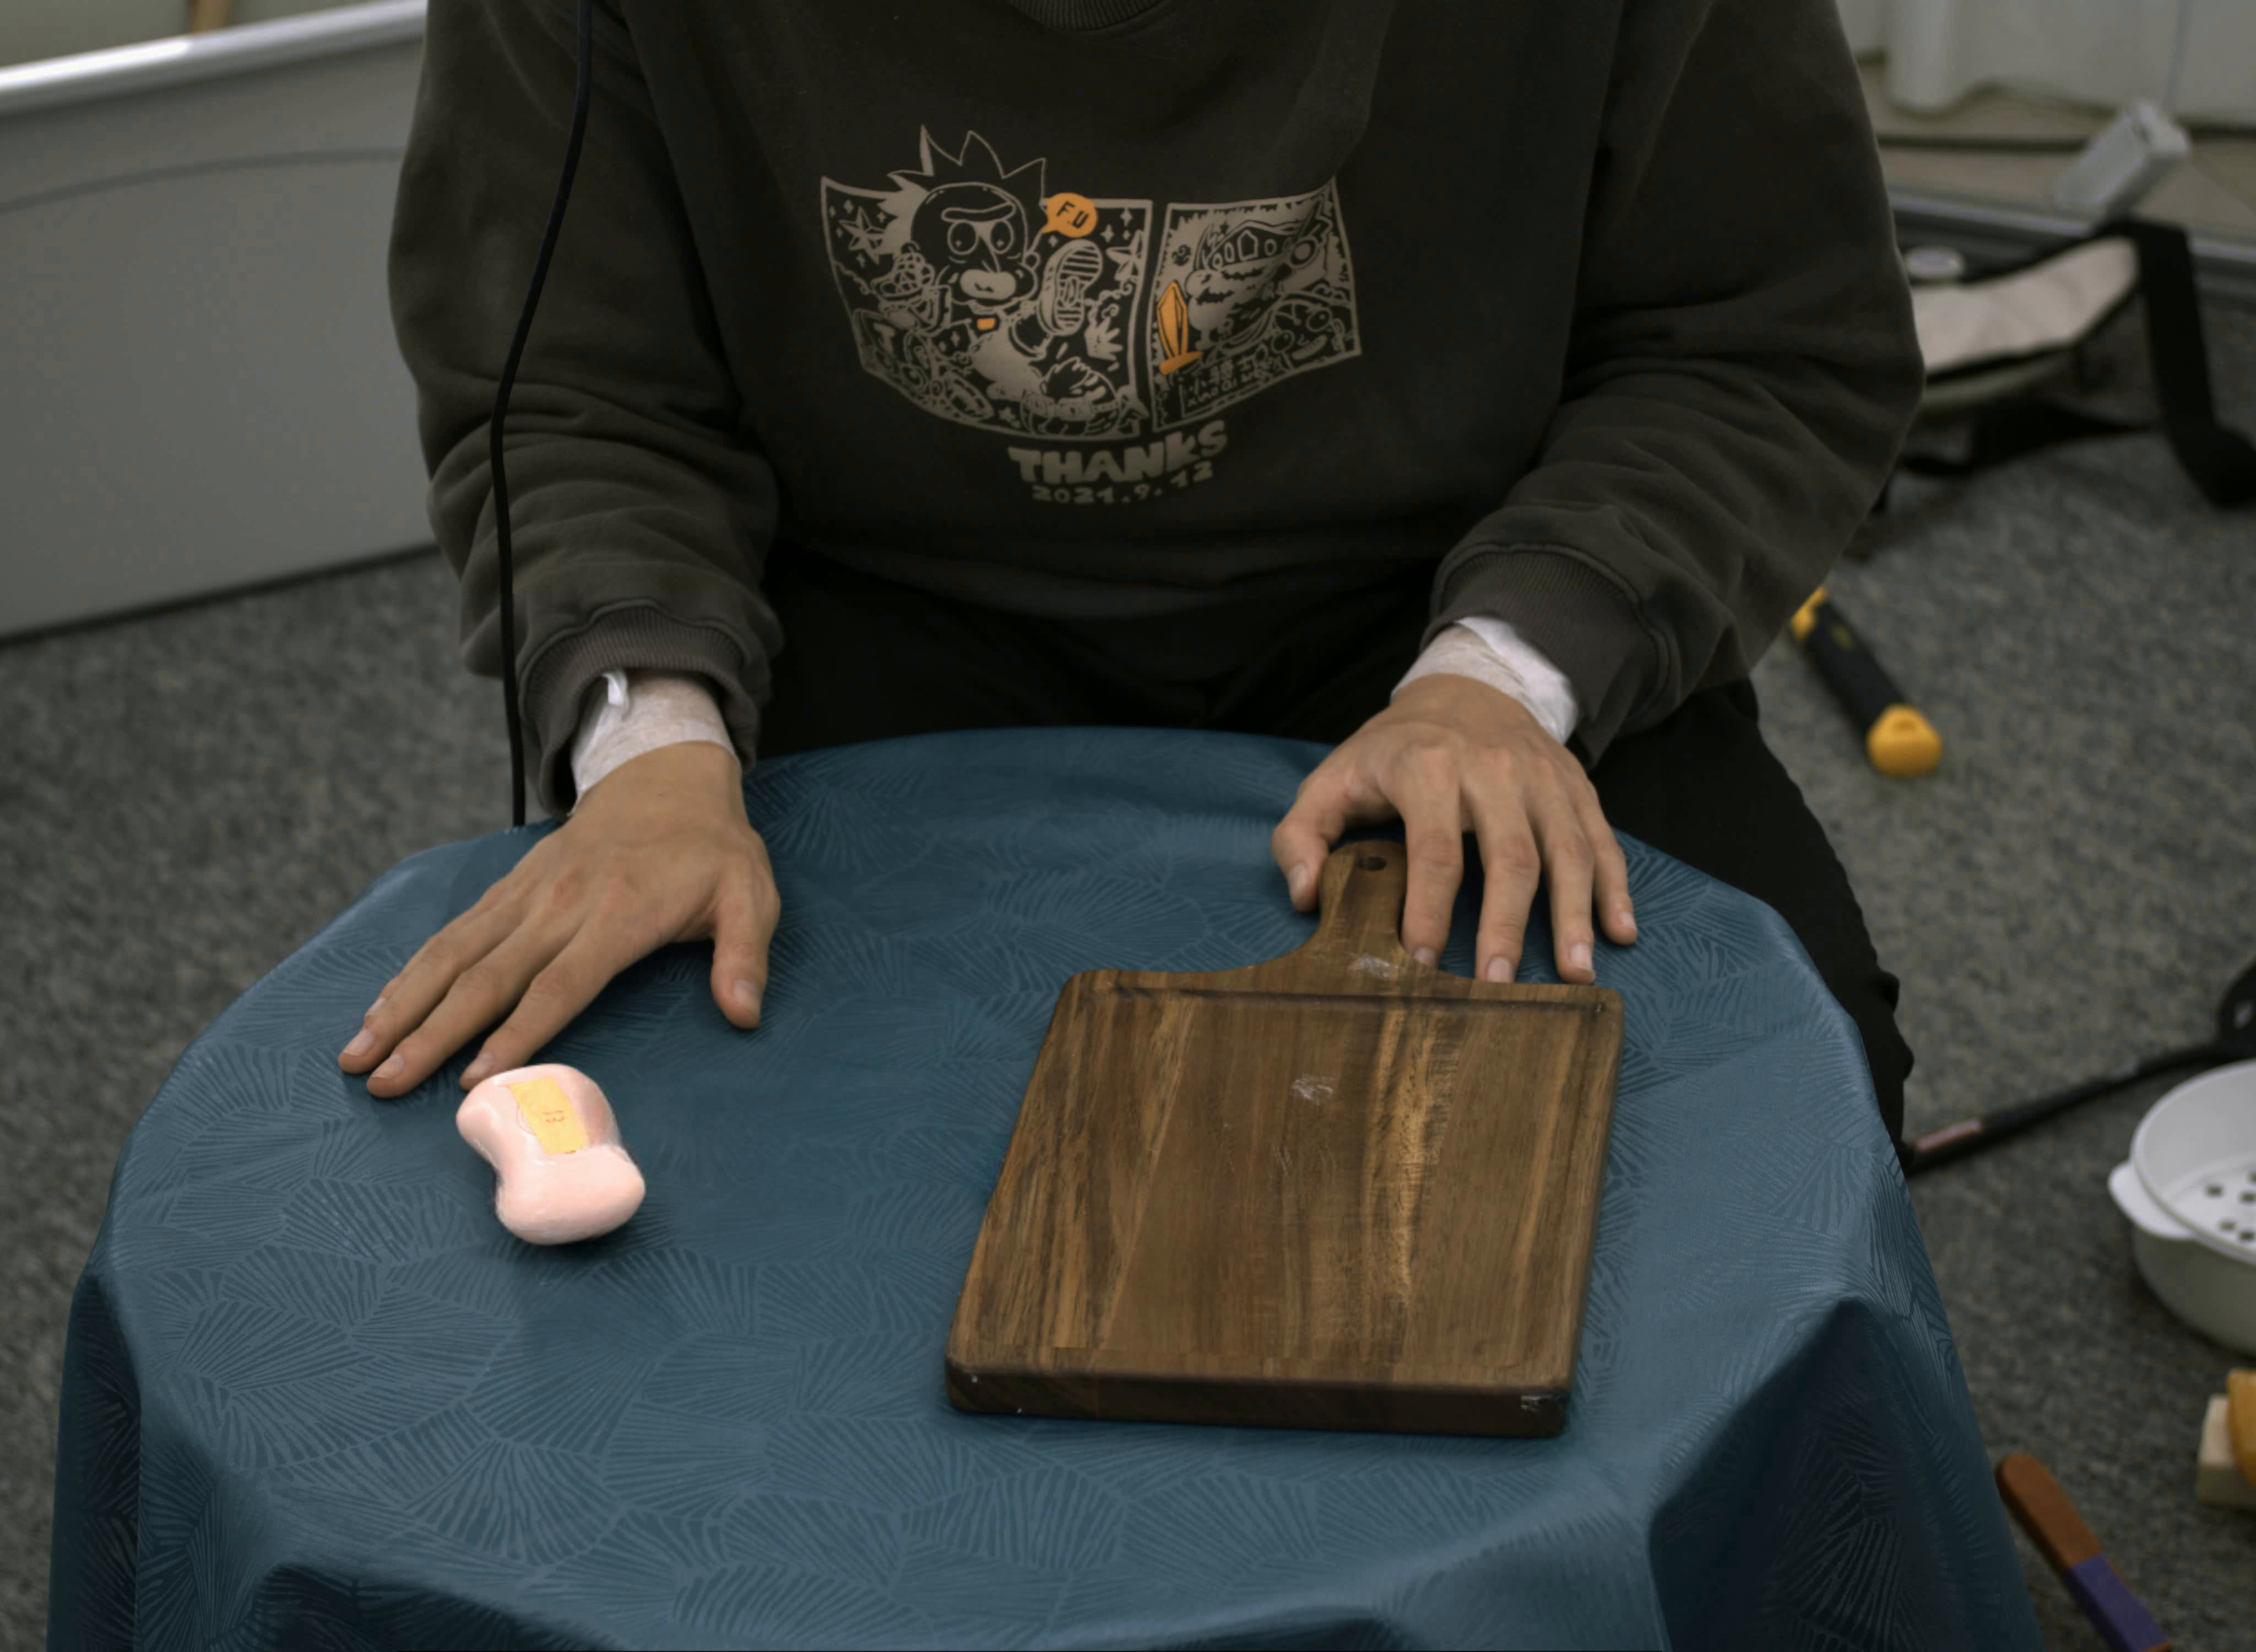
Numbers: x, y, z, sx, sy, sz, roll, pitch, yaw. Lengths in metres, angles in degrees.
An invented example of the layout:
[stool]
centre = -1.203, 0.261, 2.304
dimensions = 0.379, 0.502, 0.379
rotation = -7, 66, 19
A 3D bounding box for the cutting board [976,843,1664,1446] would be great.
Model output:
[cutting board]
centre = 0.076, 0.097, 1.877
dimensions = 0.200, 0.023, 0.358
rotation = 2, 28, 10

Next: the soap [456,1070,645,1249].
[soap]
centre = -0.193, 0.111, 1.871
dimensions = 0.050, 0.030, 0.095
rotation = -10, 27, -15
